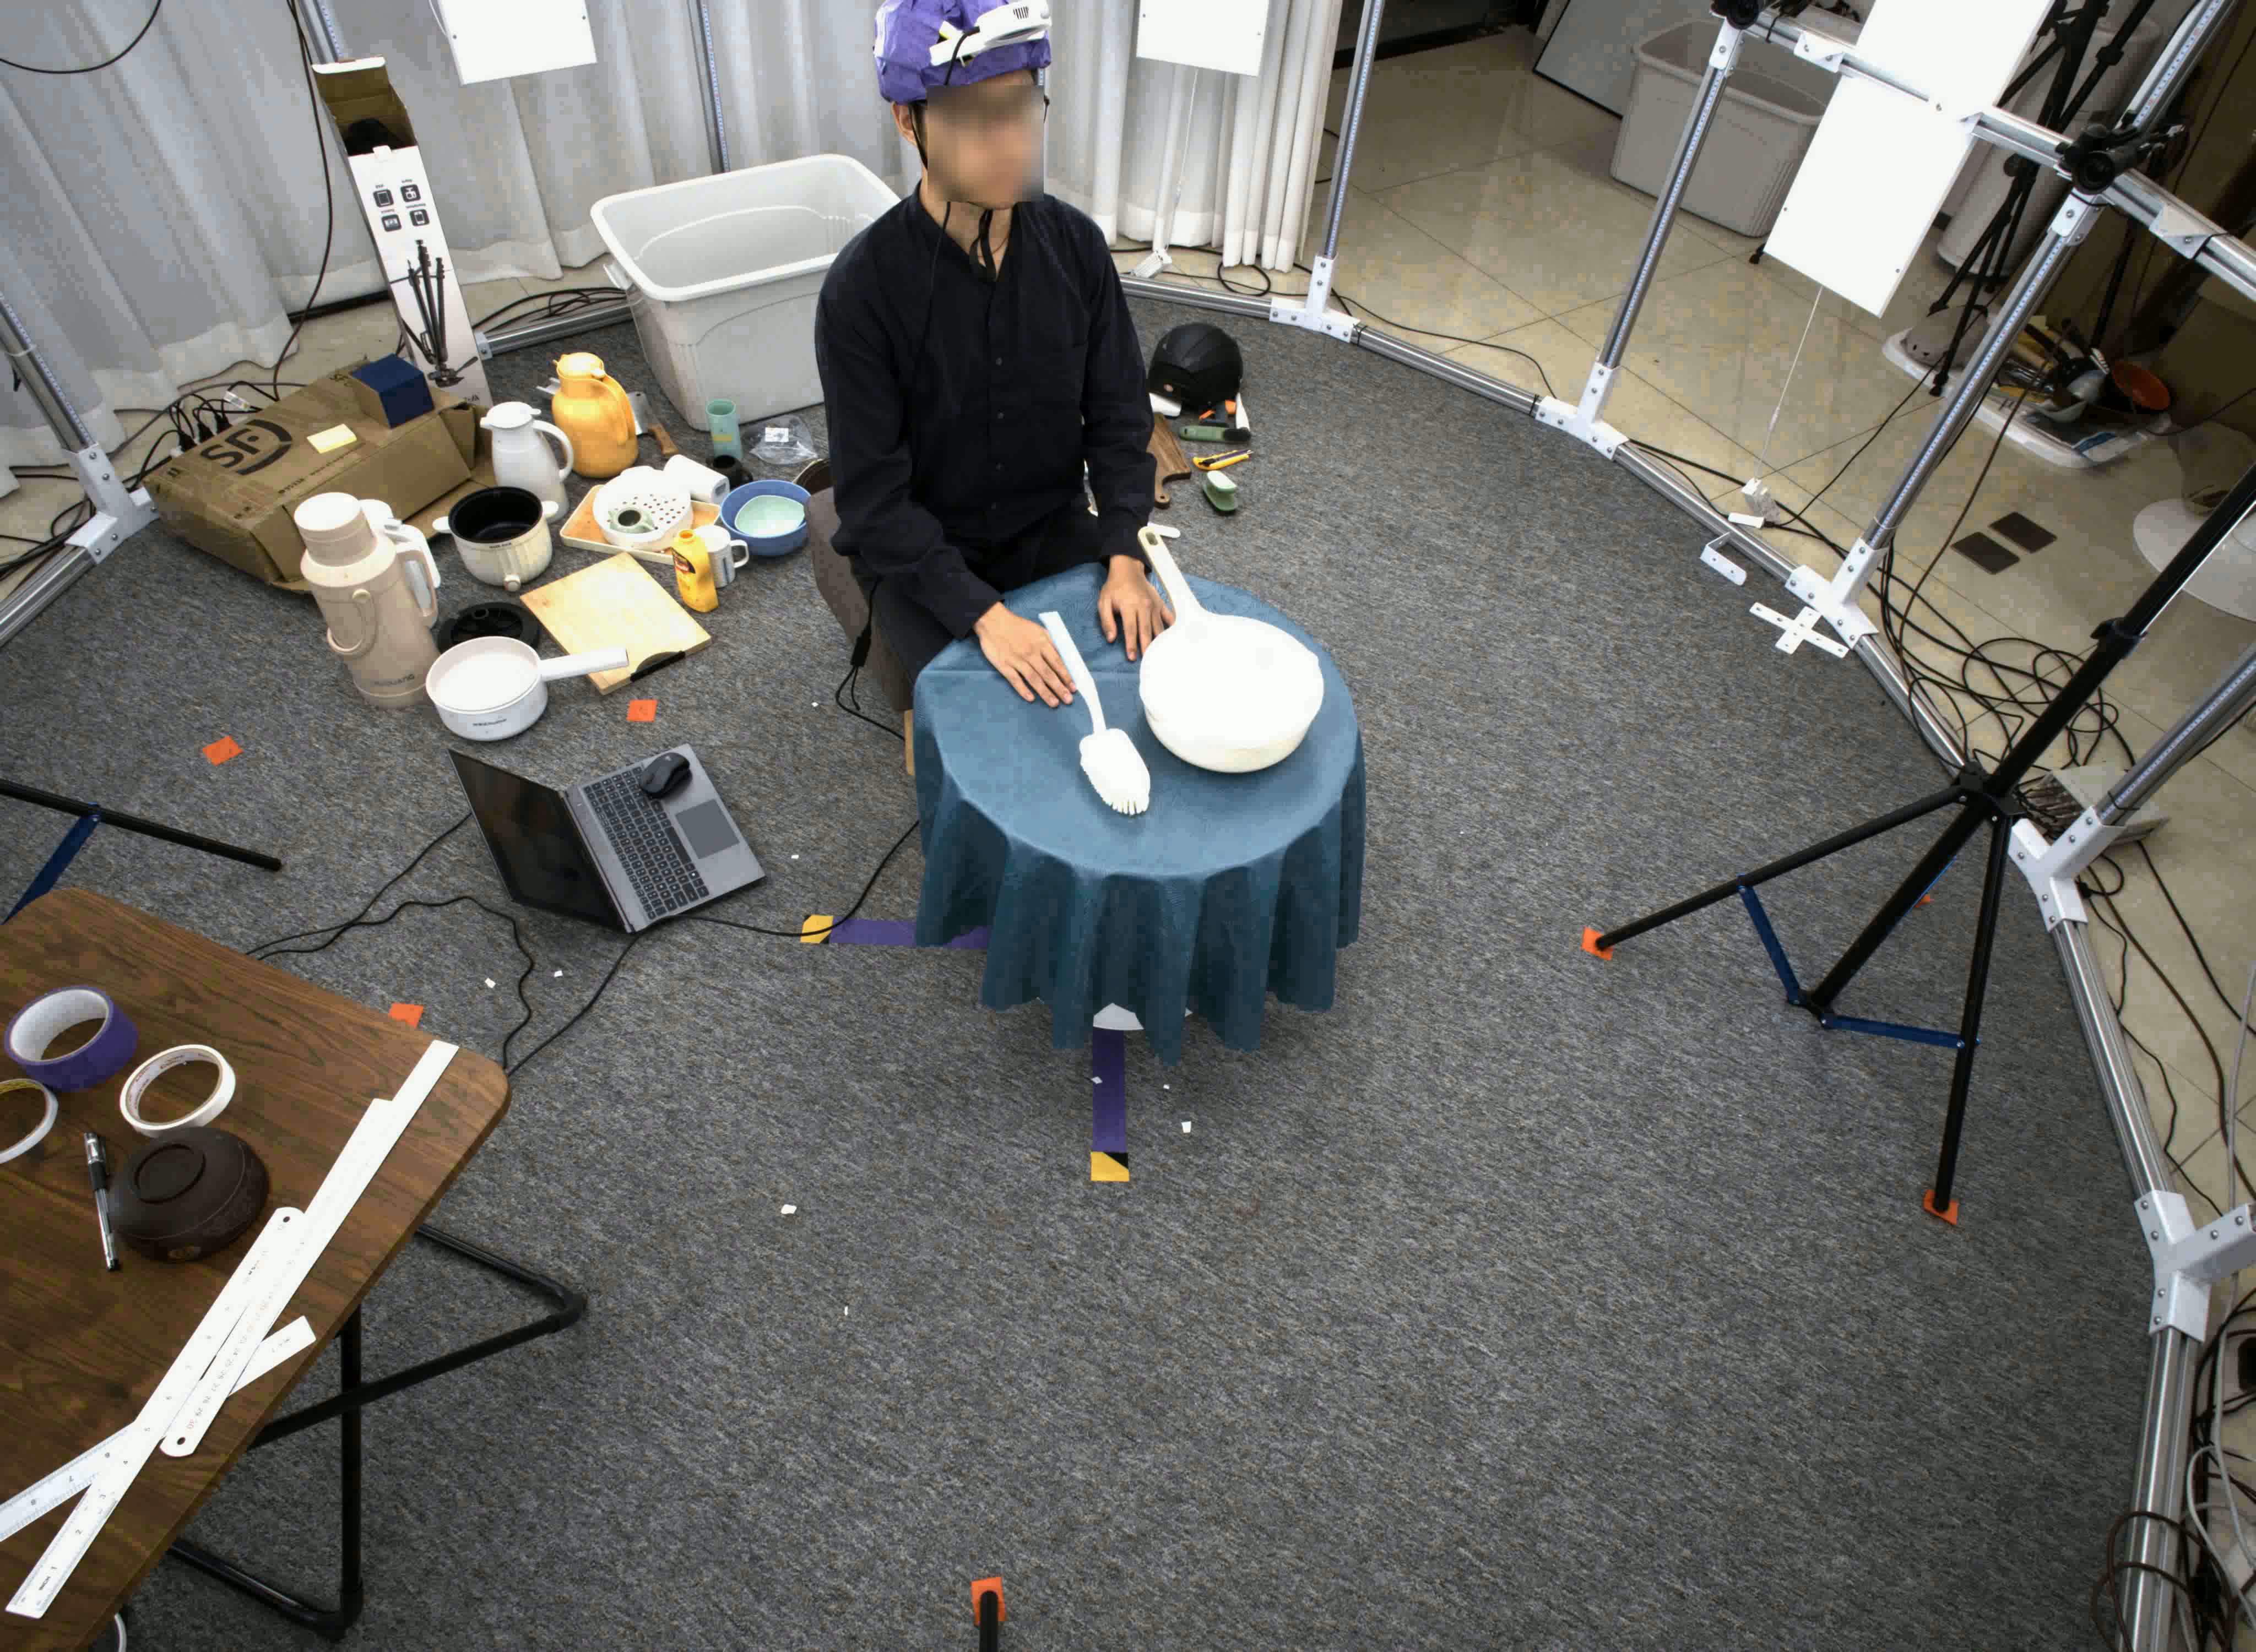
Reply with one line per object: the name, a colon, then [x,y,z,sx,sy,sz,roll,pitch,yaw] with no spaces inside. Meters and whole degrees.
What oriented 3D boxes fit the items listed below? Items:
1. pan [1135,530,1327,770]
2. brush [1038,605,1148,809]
pan: [0.108,-0.252,1.830,0.263,0.099,0.445,-16,53,-17]
brush: [-0.051,-0.159,1.748,0.082,0.083,0.331,6,50,-50]
